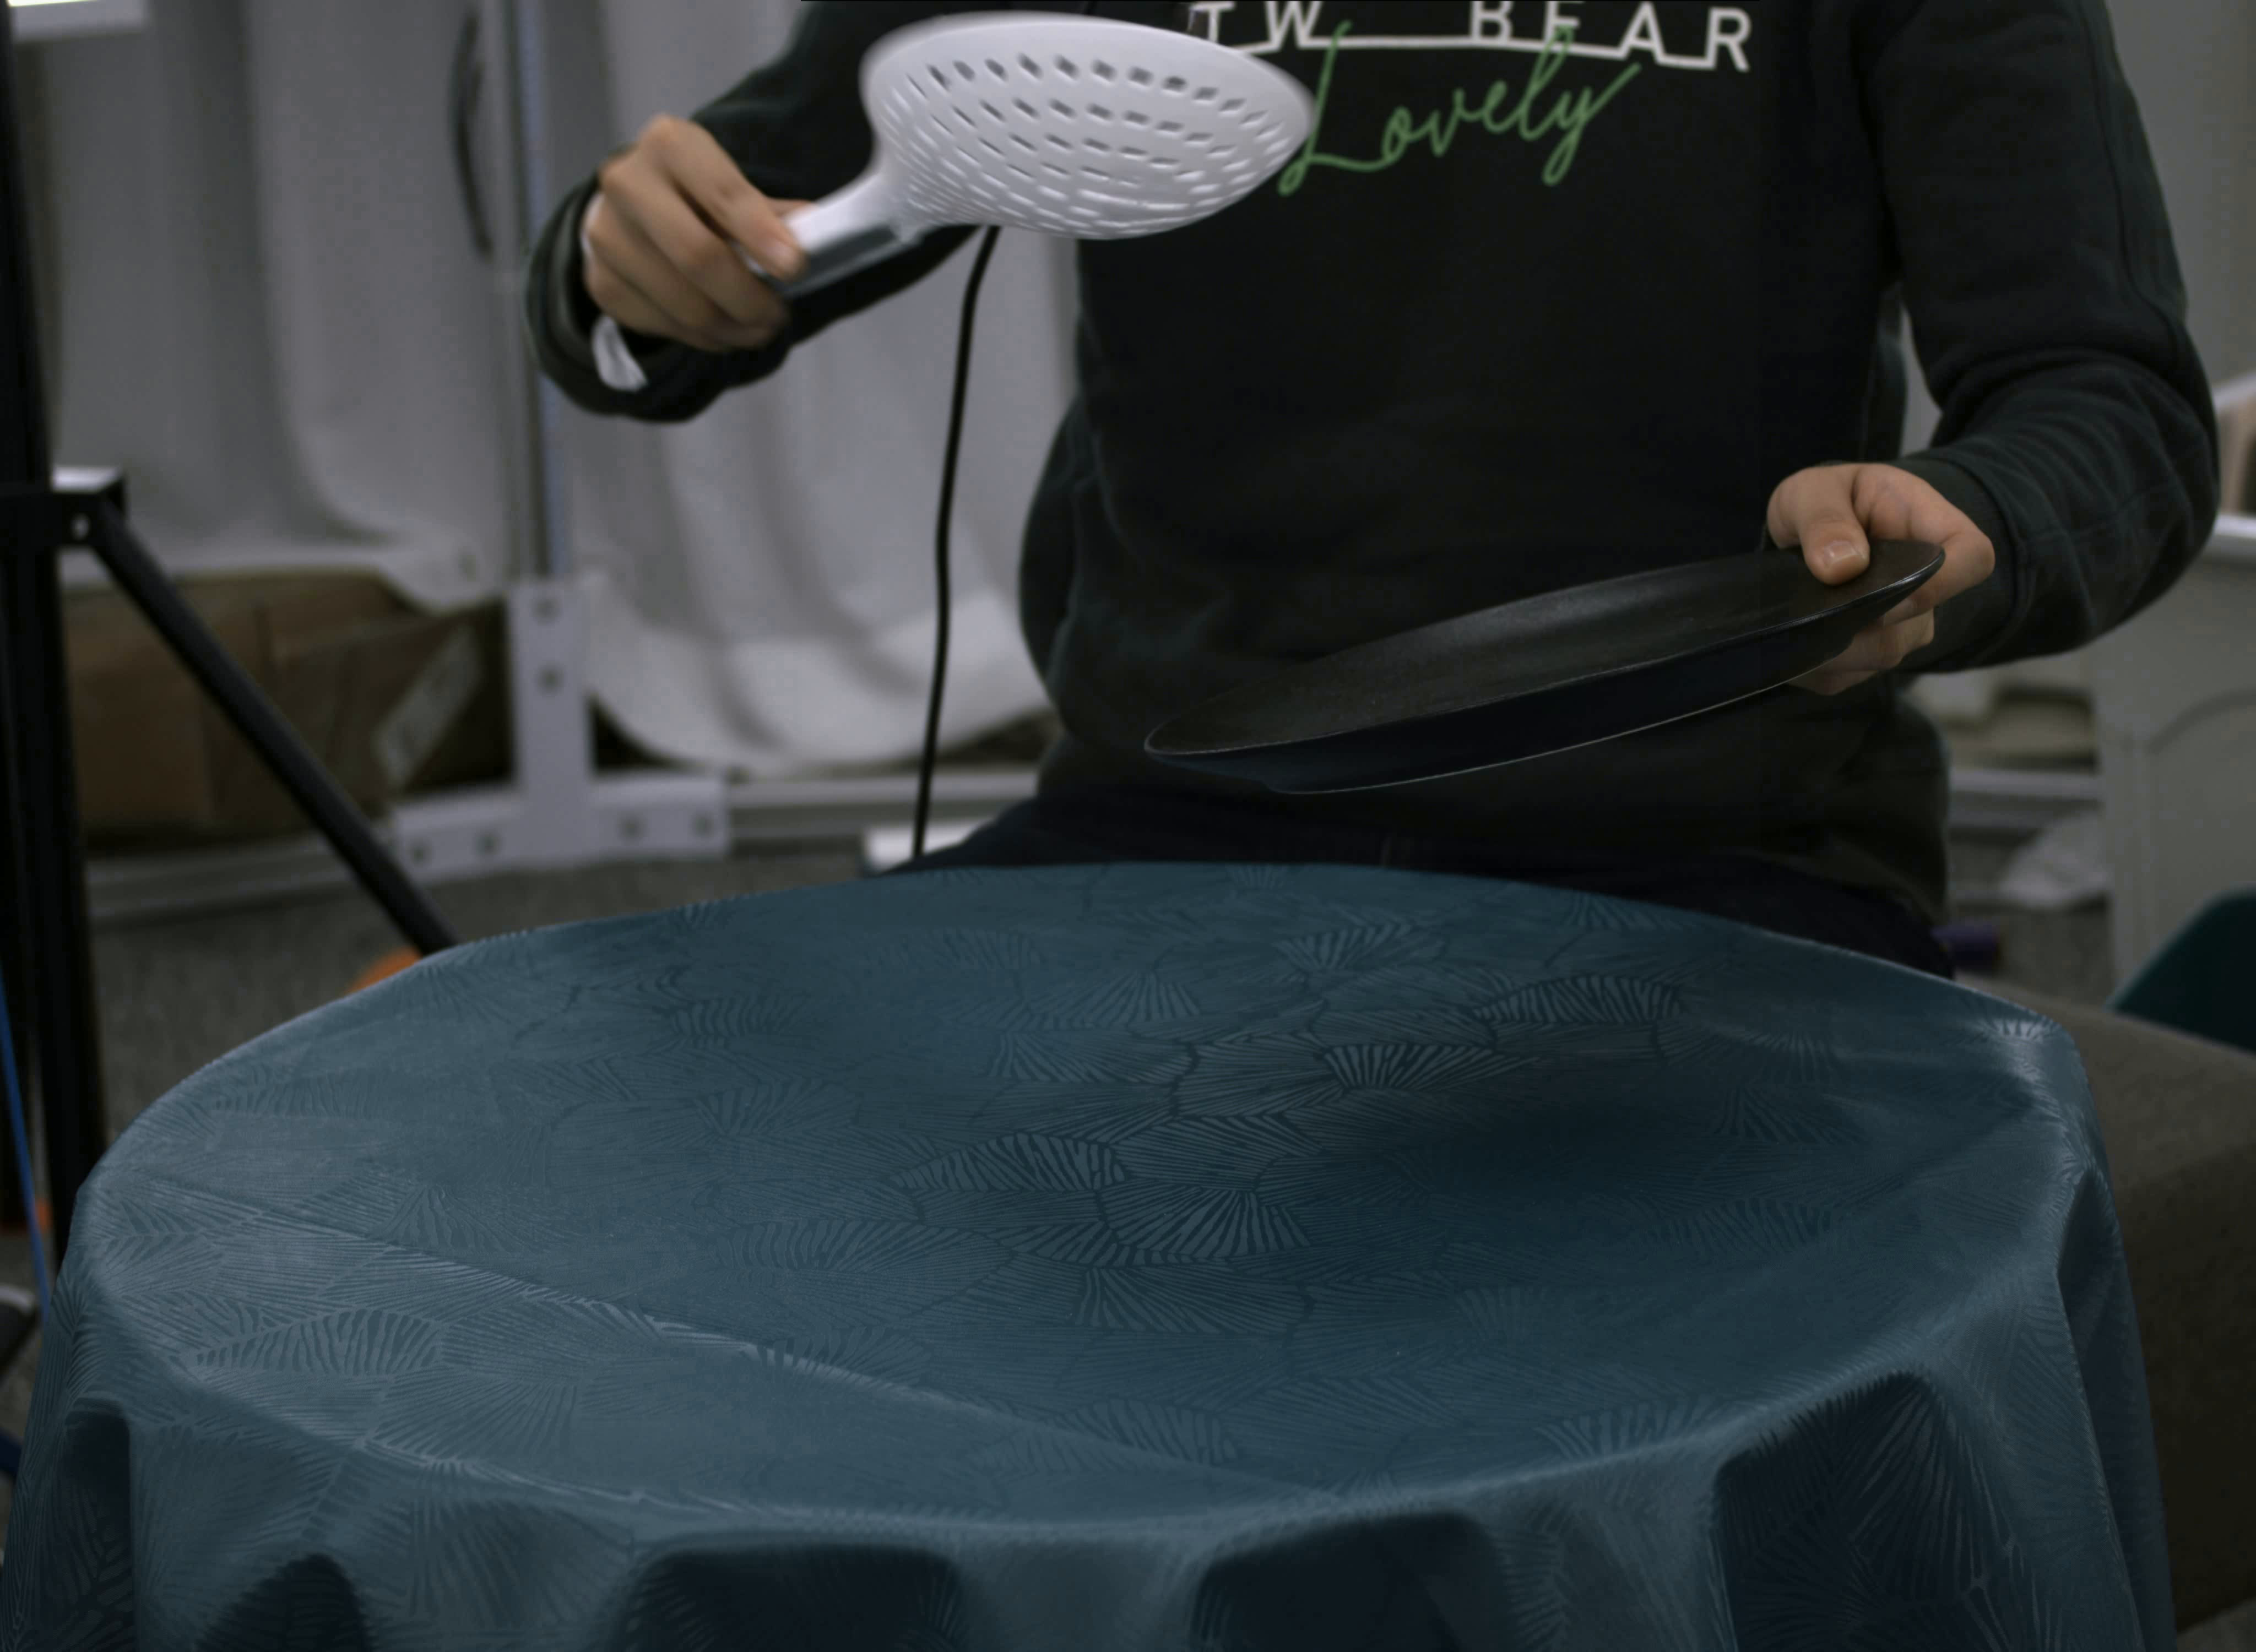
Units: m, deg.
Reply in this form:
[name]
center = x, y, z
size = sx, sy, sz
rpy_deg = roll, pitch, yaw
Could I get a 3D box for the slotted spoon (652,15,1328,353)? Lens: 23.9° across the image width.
[slotted spoon]
center = -0.064, -0.198, 1.709
size = 0.132, 0.046, 0.356
rpy_deg = 9, -8, -30

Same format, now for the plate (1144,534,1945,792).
[plate]
center = 0.124, -0.045, 1.575
size = 0.243, 0.023, 0.245
rpy_deg = -15, 7, 0
